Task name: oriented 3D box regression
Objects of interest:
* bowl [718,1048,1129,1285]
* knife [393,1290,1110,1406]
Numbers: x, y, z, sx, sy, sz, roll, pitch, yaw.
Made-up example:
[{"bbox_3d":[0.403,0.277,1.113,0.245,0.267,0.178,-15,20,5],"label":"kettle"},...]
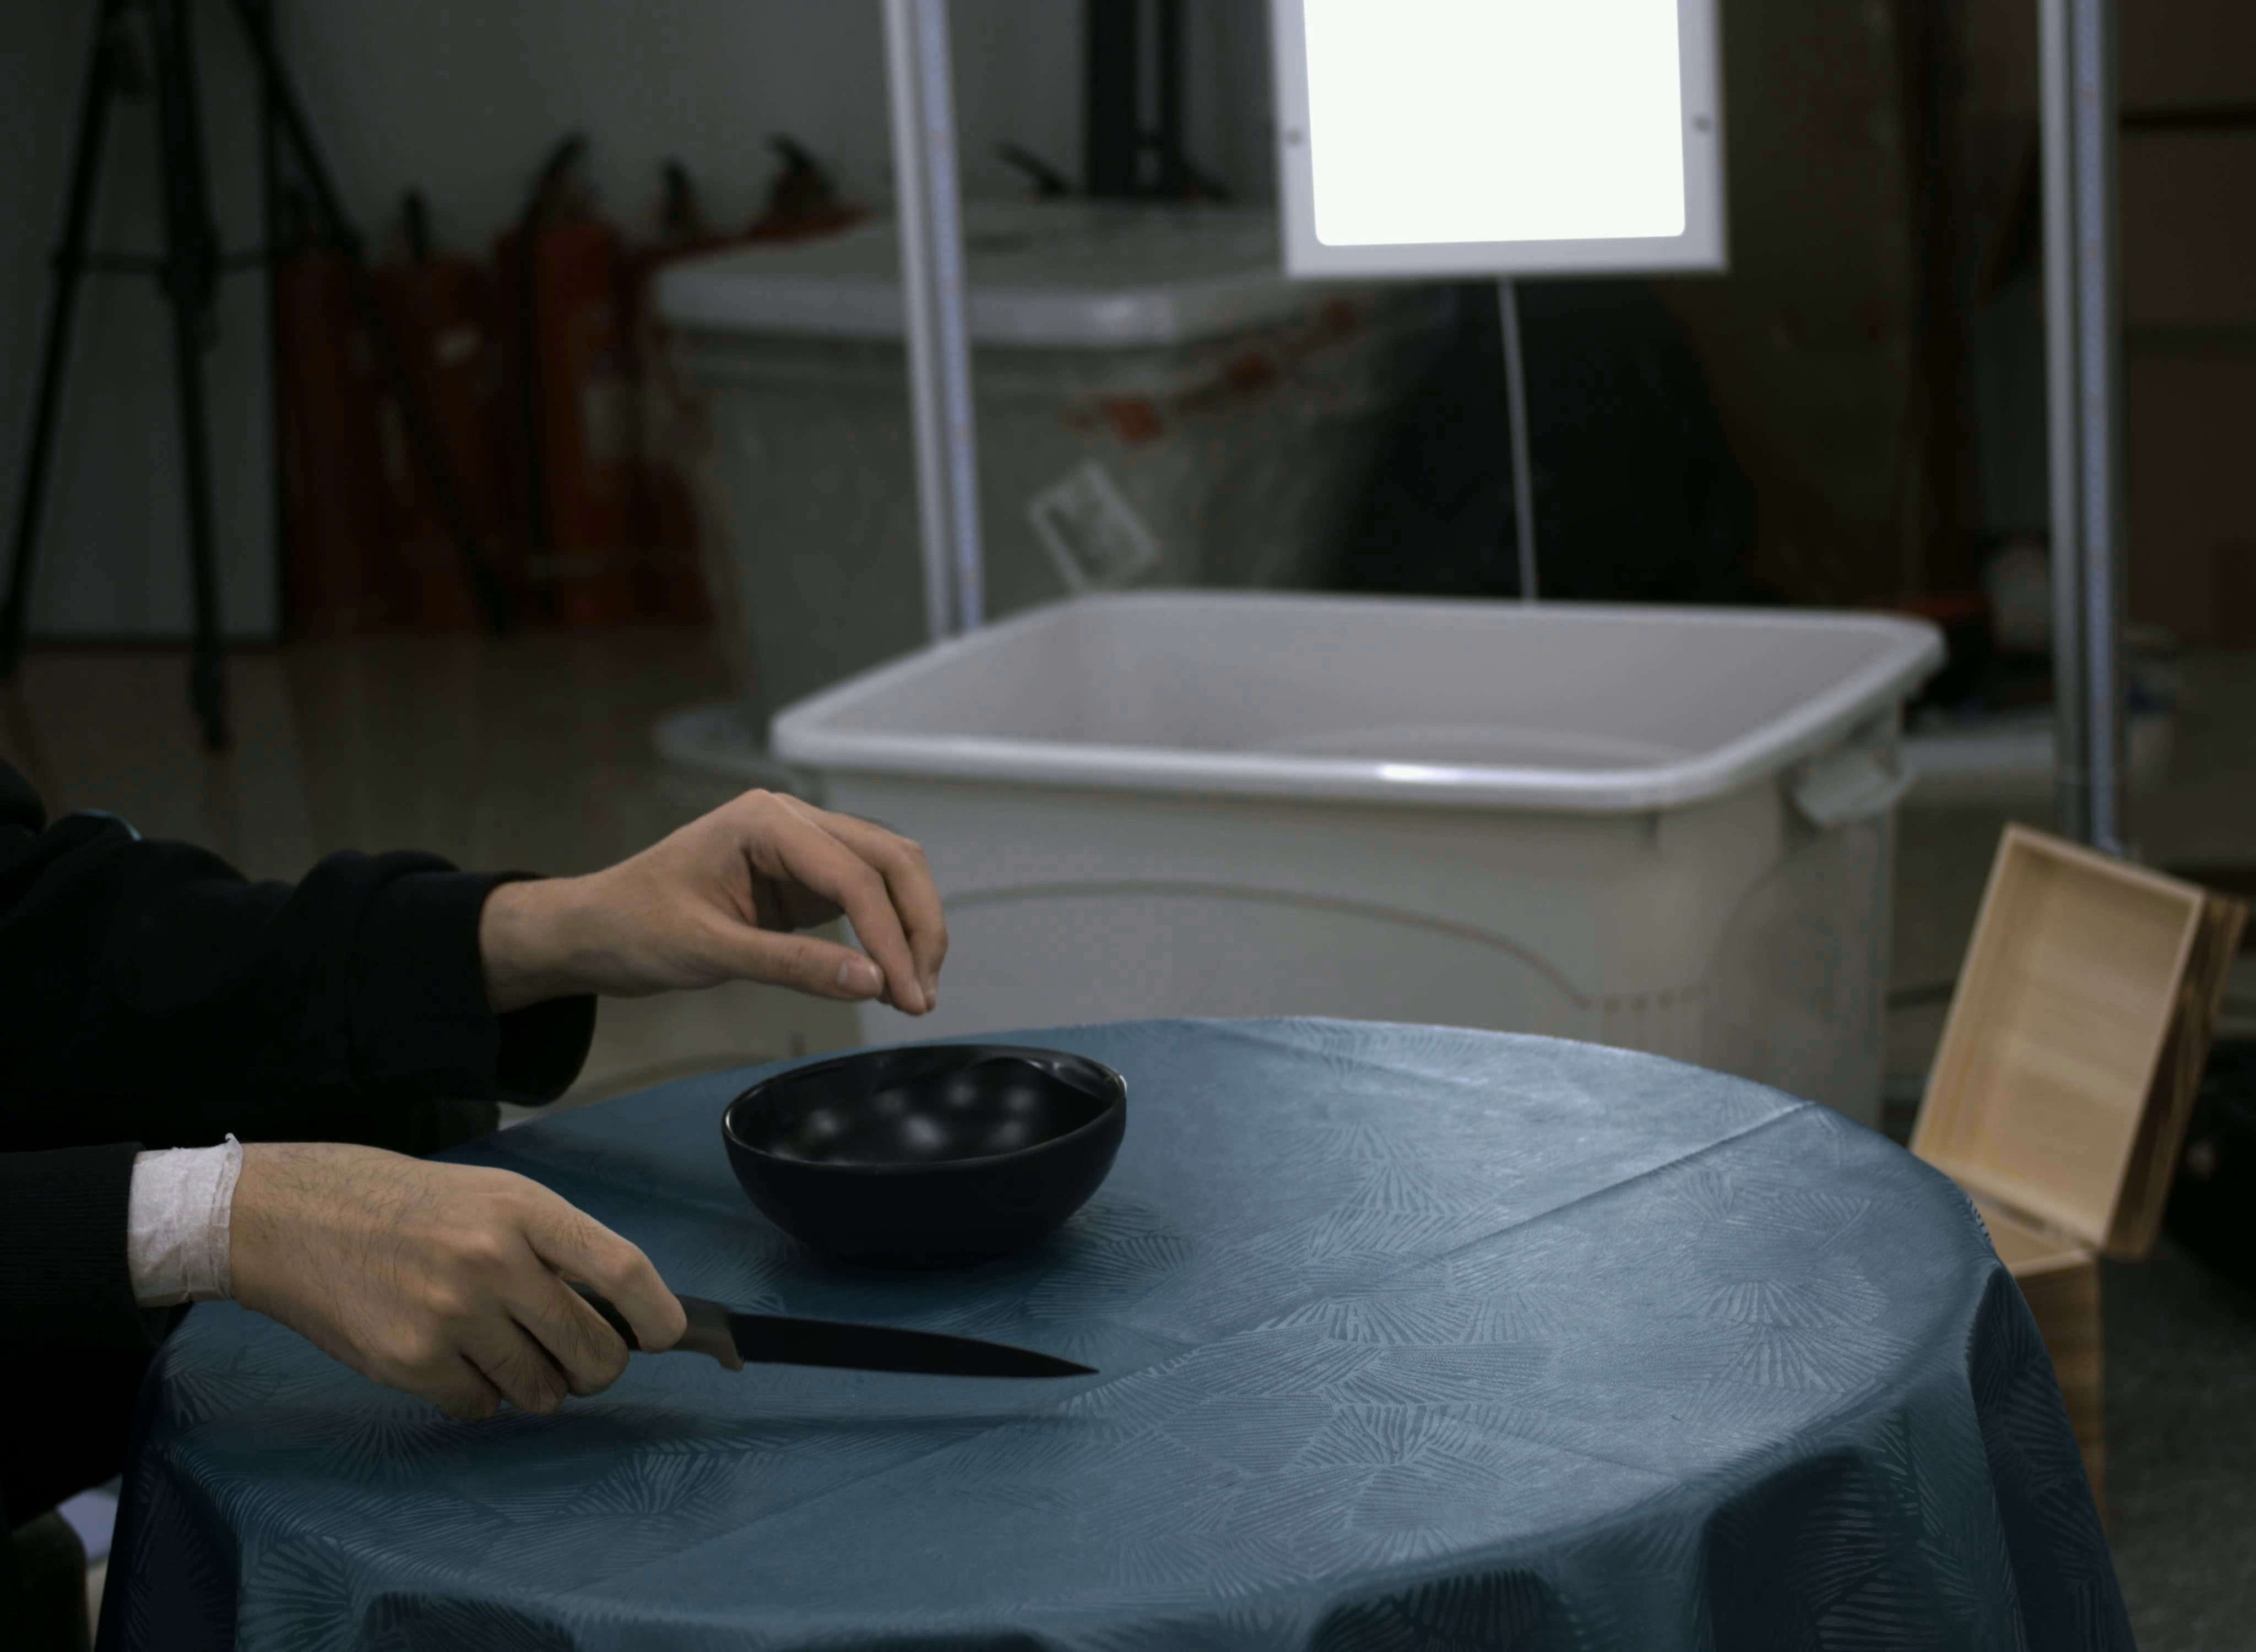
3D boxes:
[{"bbox_3d":[-0.066,0.119,1.859,0.140,0.050,0.140,-9,14,1],"label":"bowl"},{"bbox_3d":[-0.117,0.161,1.704,0.226,0.026,0.017,5,40,8],"label":"knife"}]
